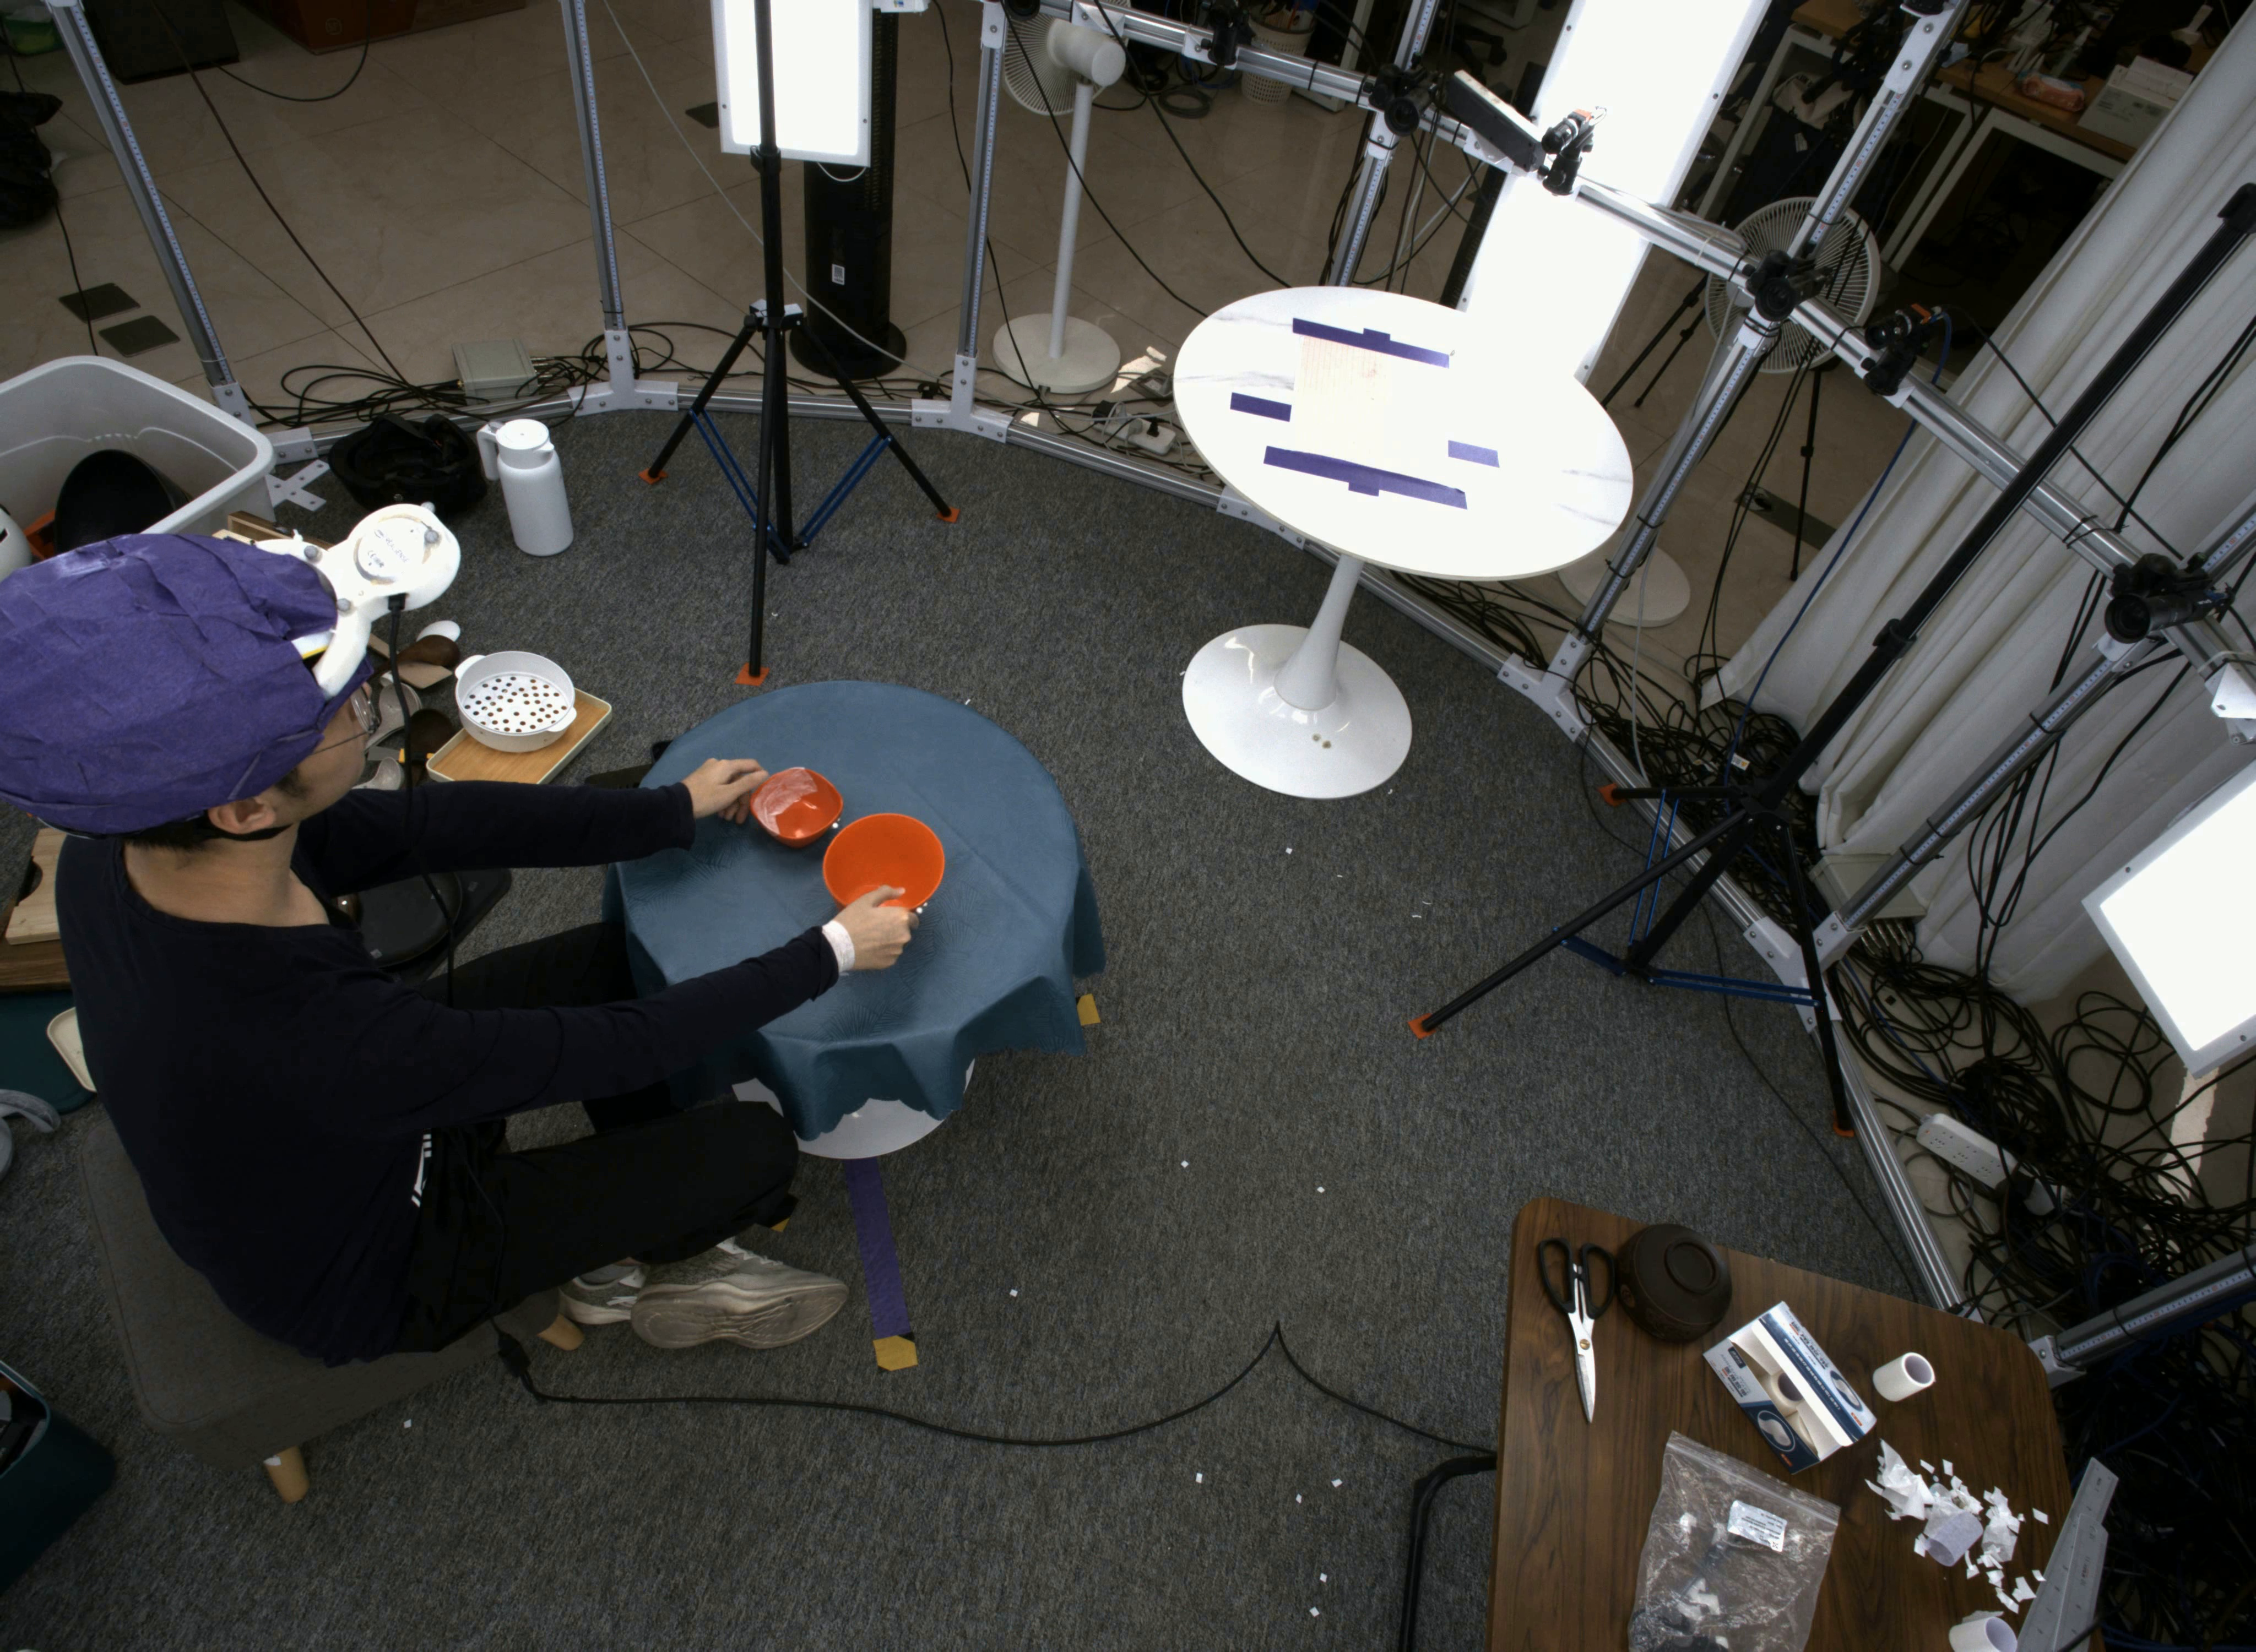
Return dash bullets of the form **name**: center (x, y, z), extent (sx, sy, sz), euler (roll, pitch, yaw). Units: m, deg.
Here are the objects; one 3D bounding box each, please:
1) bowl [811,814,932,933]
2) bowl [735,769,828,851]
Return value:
- **bowl**: center (-0.325, 0.072, 1.642), extent (0.148, 0.106, 0.145), euler (10, 51, -10)
- **bowl**: center (-0.455, -0.013, 1.705), extent (0.119, 0.052, 0.117), euler (8, 54, -9)
